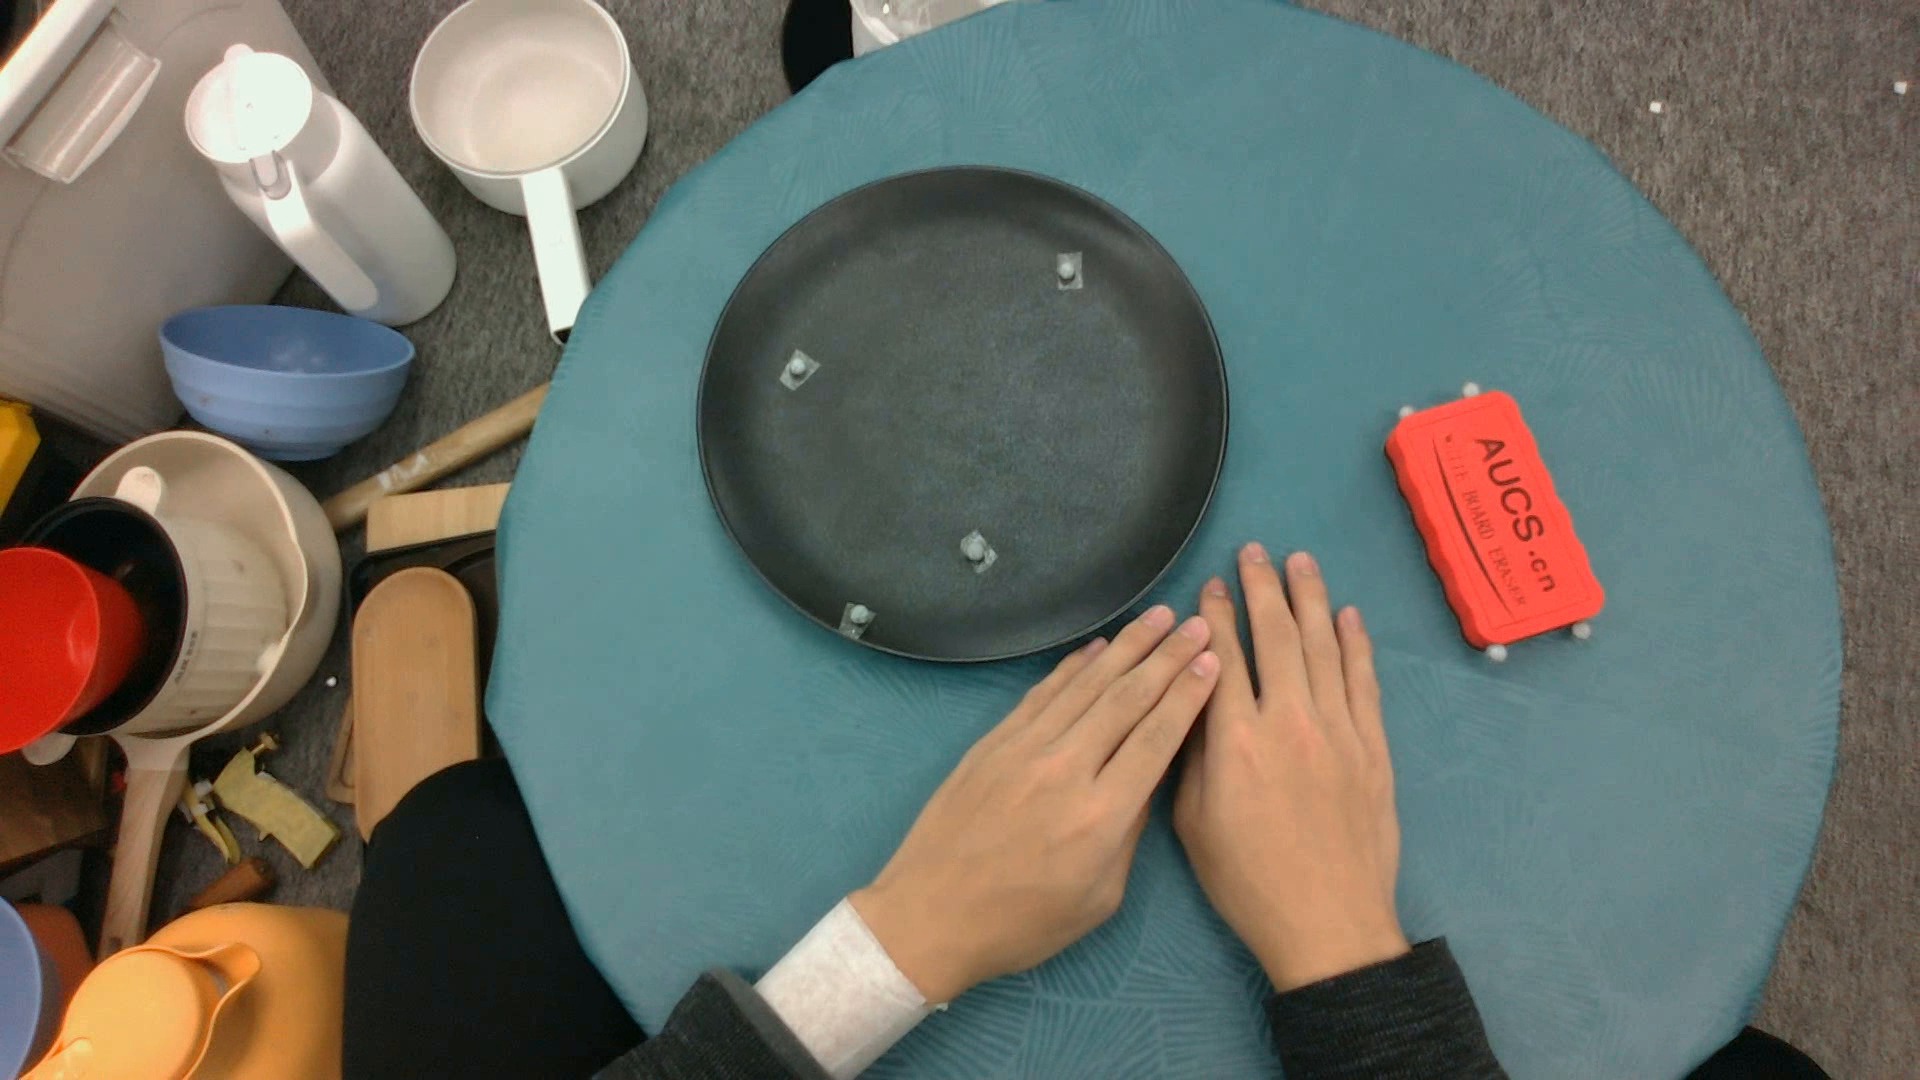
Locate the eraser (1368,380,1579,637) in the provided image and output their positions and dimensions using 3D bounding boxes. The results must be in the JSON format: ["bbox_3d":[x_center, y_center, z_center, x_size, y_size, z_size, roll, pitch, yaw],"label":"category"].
[{"bbox_3d":[0.228,-0.015,0.615,0.059,0.023,0.108,-16,73,-3],"label":"eraser"}]

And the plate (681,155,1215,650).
[{"bbox_3d":[-0.006,-0.066,0.635,0.244,0.023,0.245,0,73,1],"label":"plate"}]
